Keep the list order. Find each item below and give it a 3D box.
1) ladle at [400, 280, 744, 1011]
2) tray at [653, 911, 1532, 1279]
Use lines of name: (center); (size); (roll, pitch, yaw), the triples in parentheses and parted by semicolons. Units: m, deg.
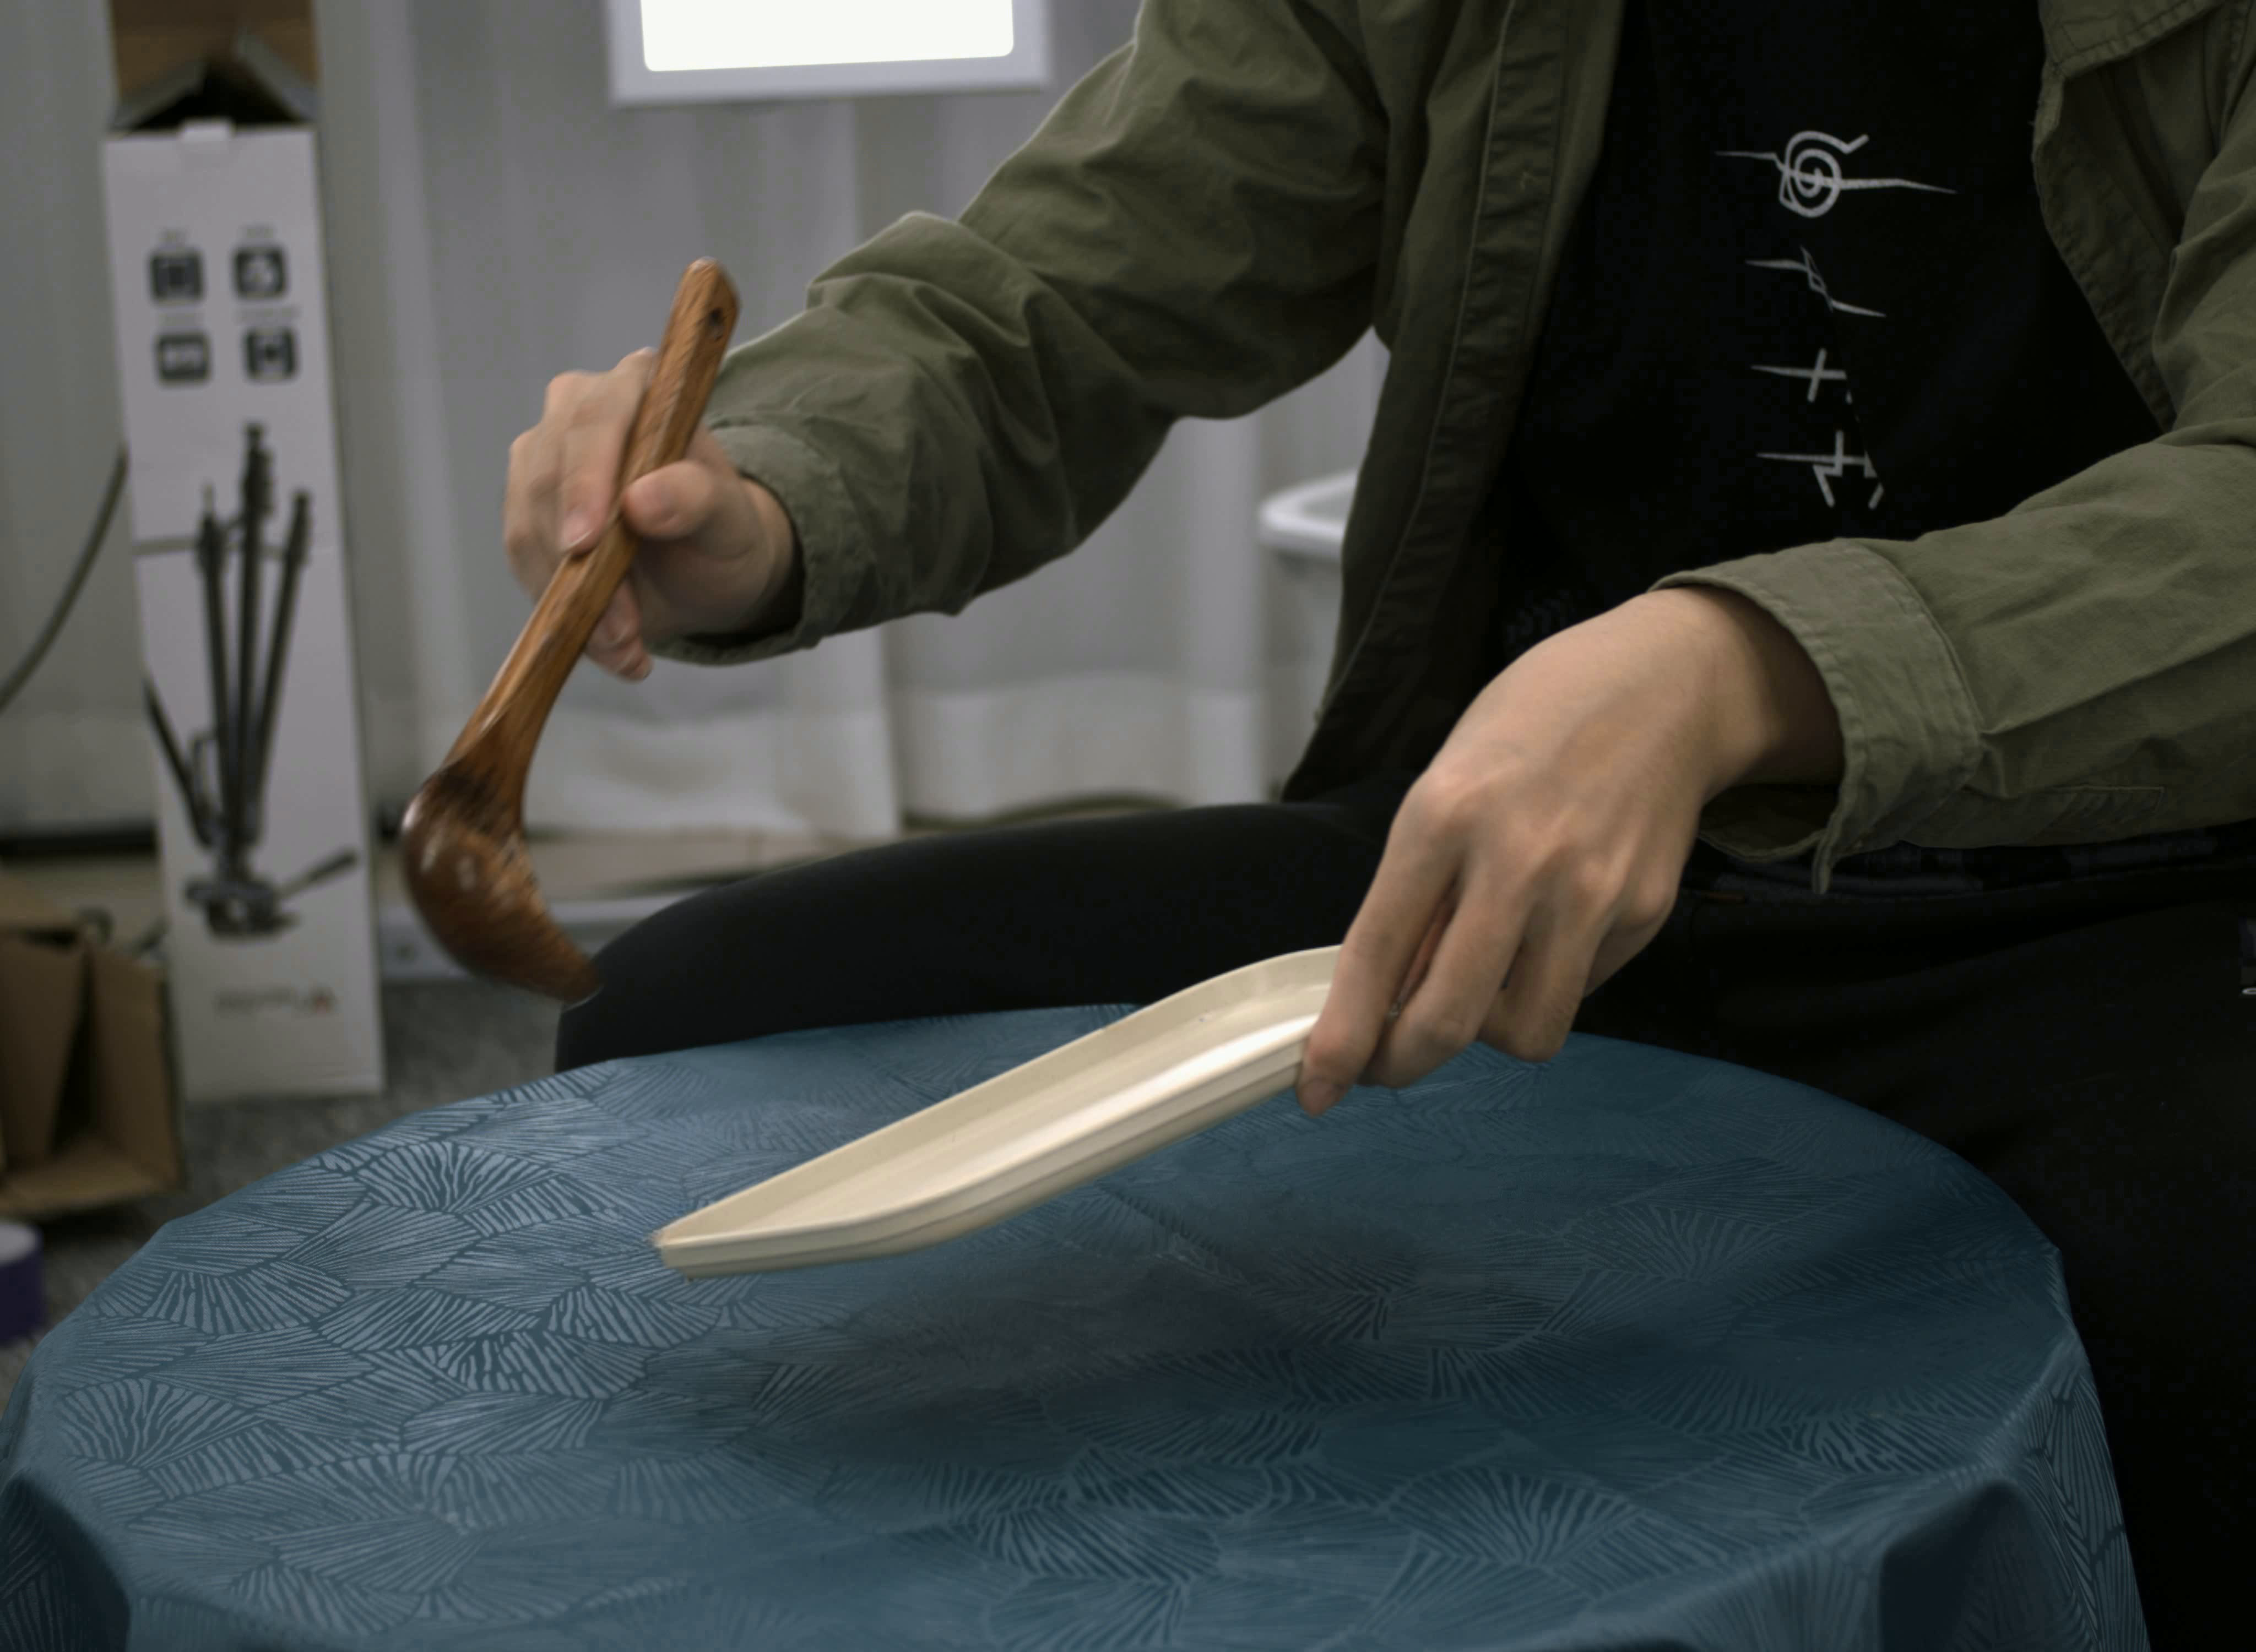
ladle: (-0.150, -0.063, 1.676); (0.077, 0.081, 0.277); (7, 53, 26)
tray: (-0.008, 0.079, 1.564); (0.239, 0.017, 0.171); (-23, 6, -32)
